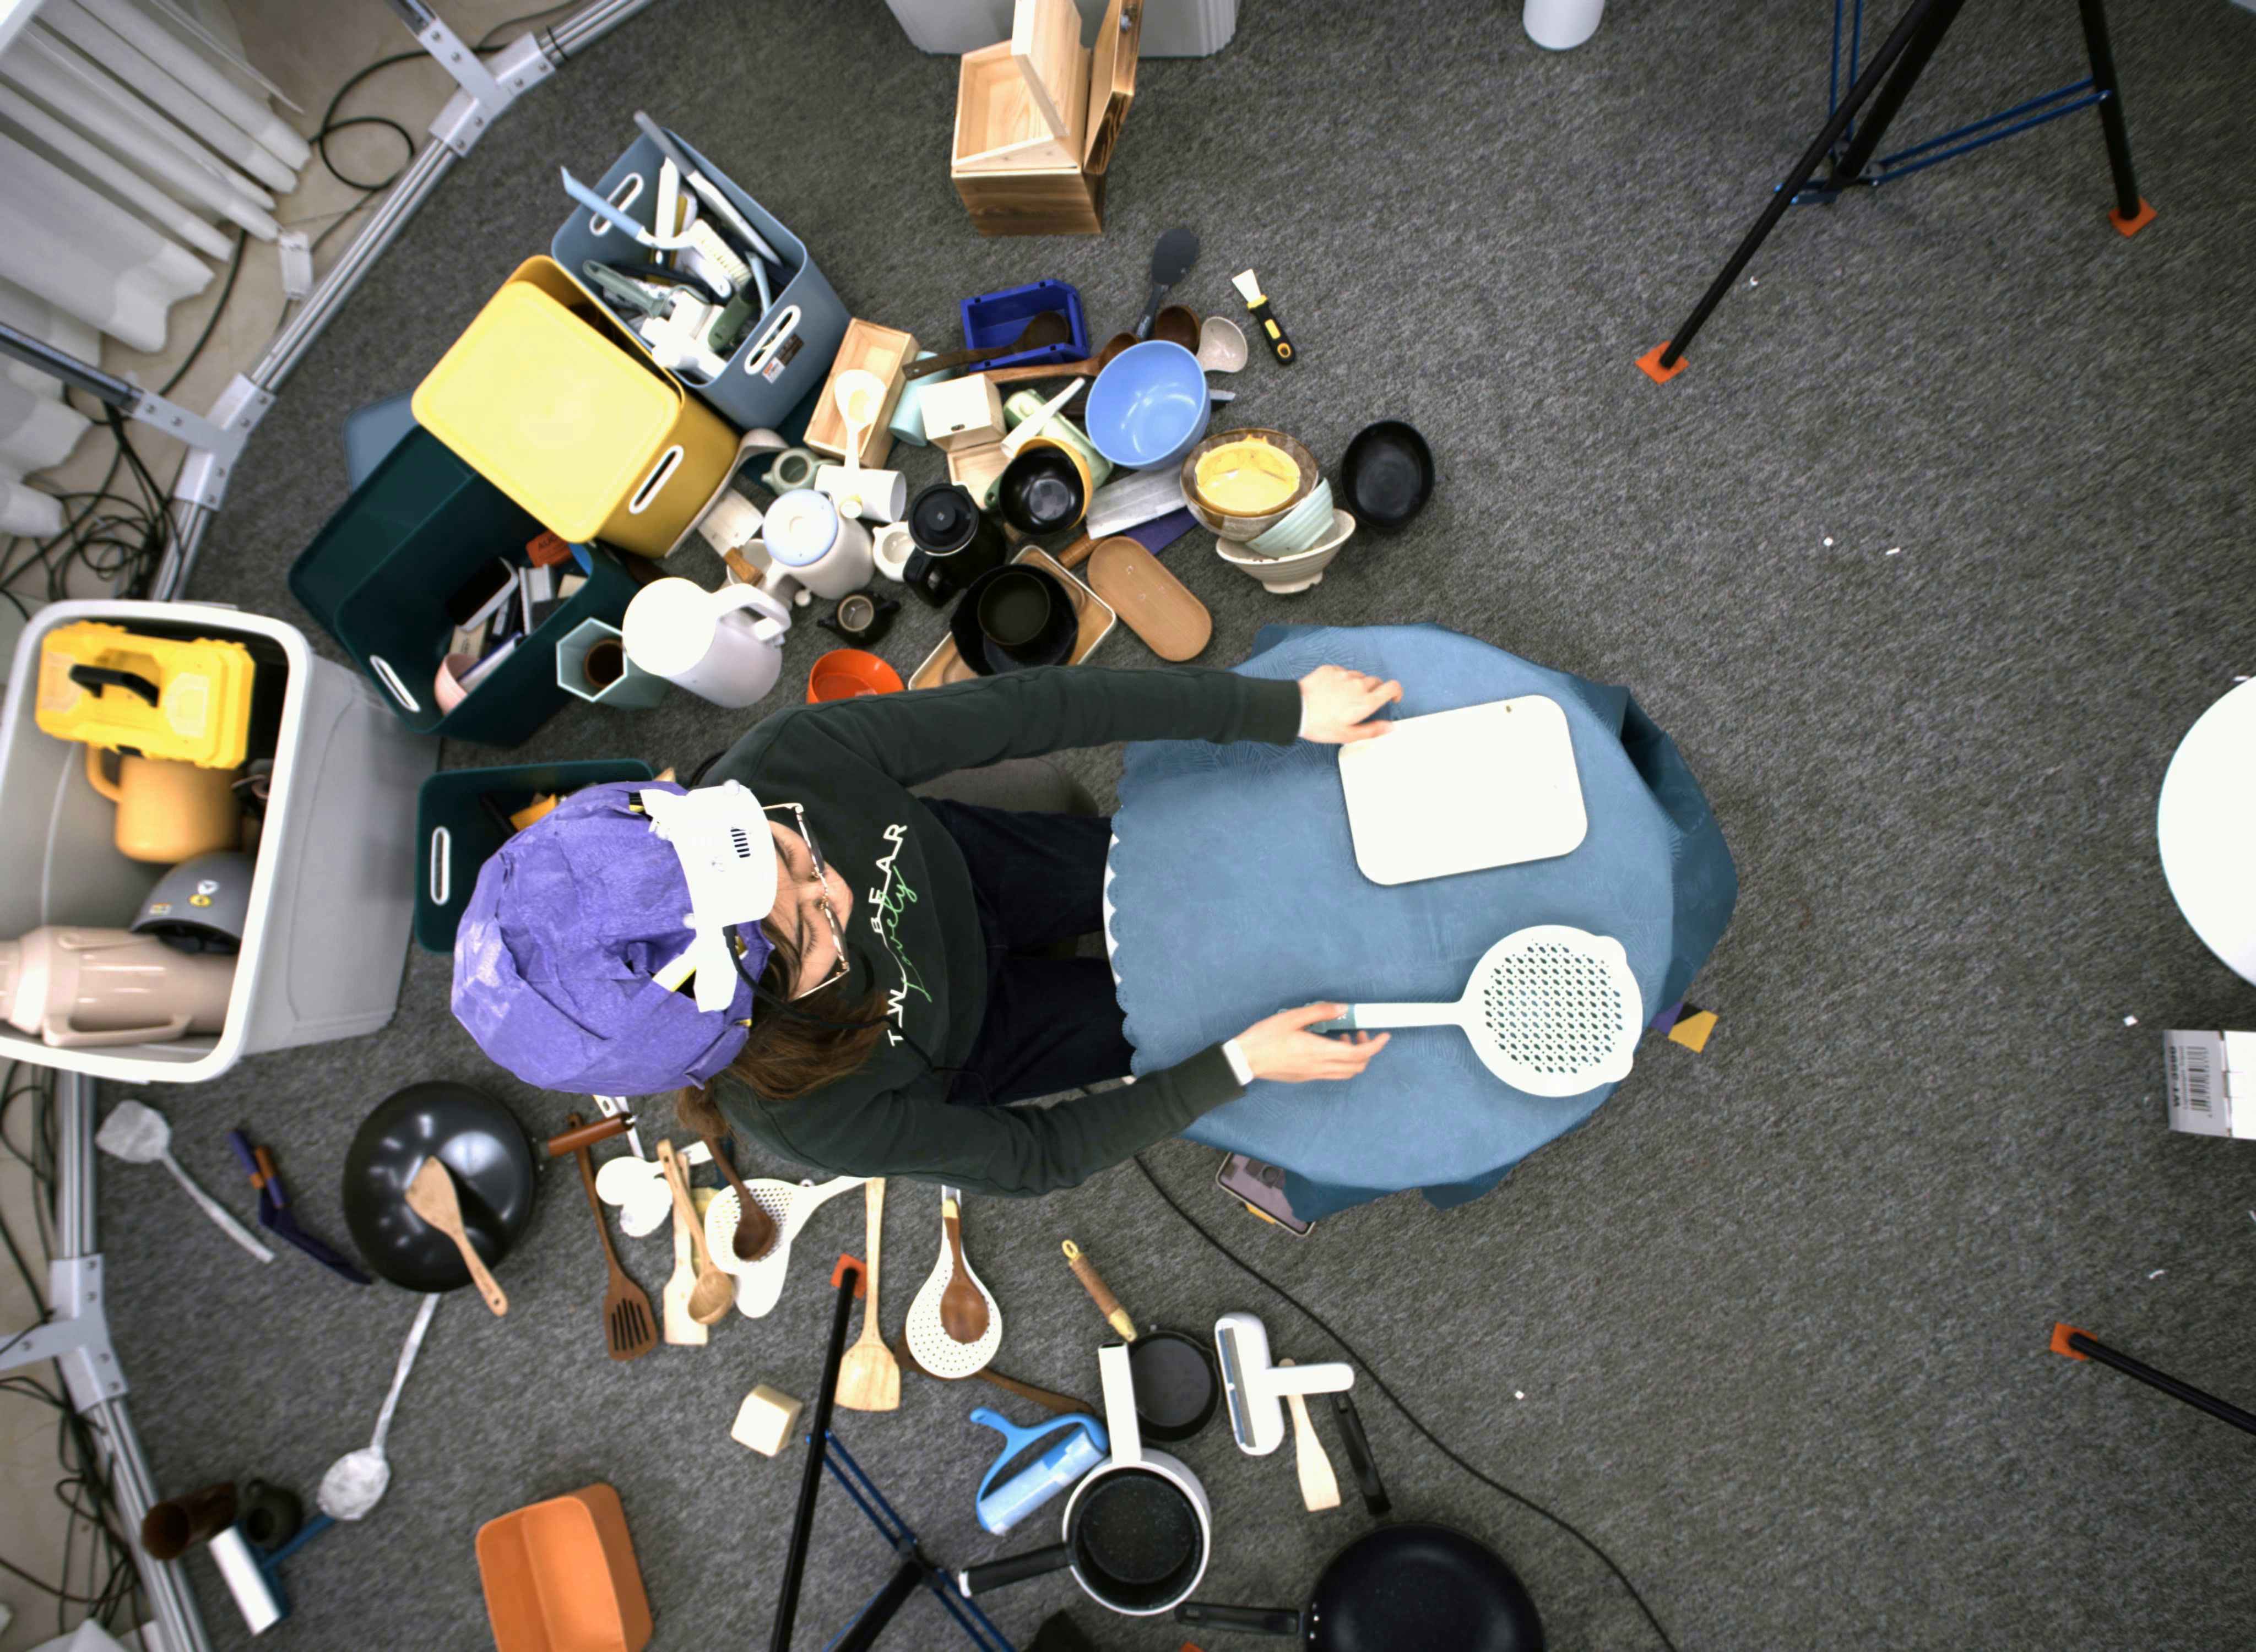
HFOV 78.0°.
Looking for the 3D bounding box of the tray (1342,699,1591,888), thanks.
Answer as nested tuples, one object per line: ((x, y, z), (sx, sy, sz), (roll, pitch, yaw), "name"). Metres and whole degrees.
((0.354, -0.035, 1.448), (0.241, 0.017, 0.170), (-11, 84, 10), "tray")

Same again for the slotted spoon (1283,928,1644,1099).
((0.336, 0.191, 1.413), (0.360, 0.075, 0.168), (-3, 84, 11), "slotted spoon")
